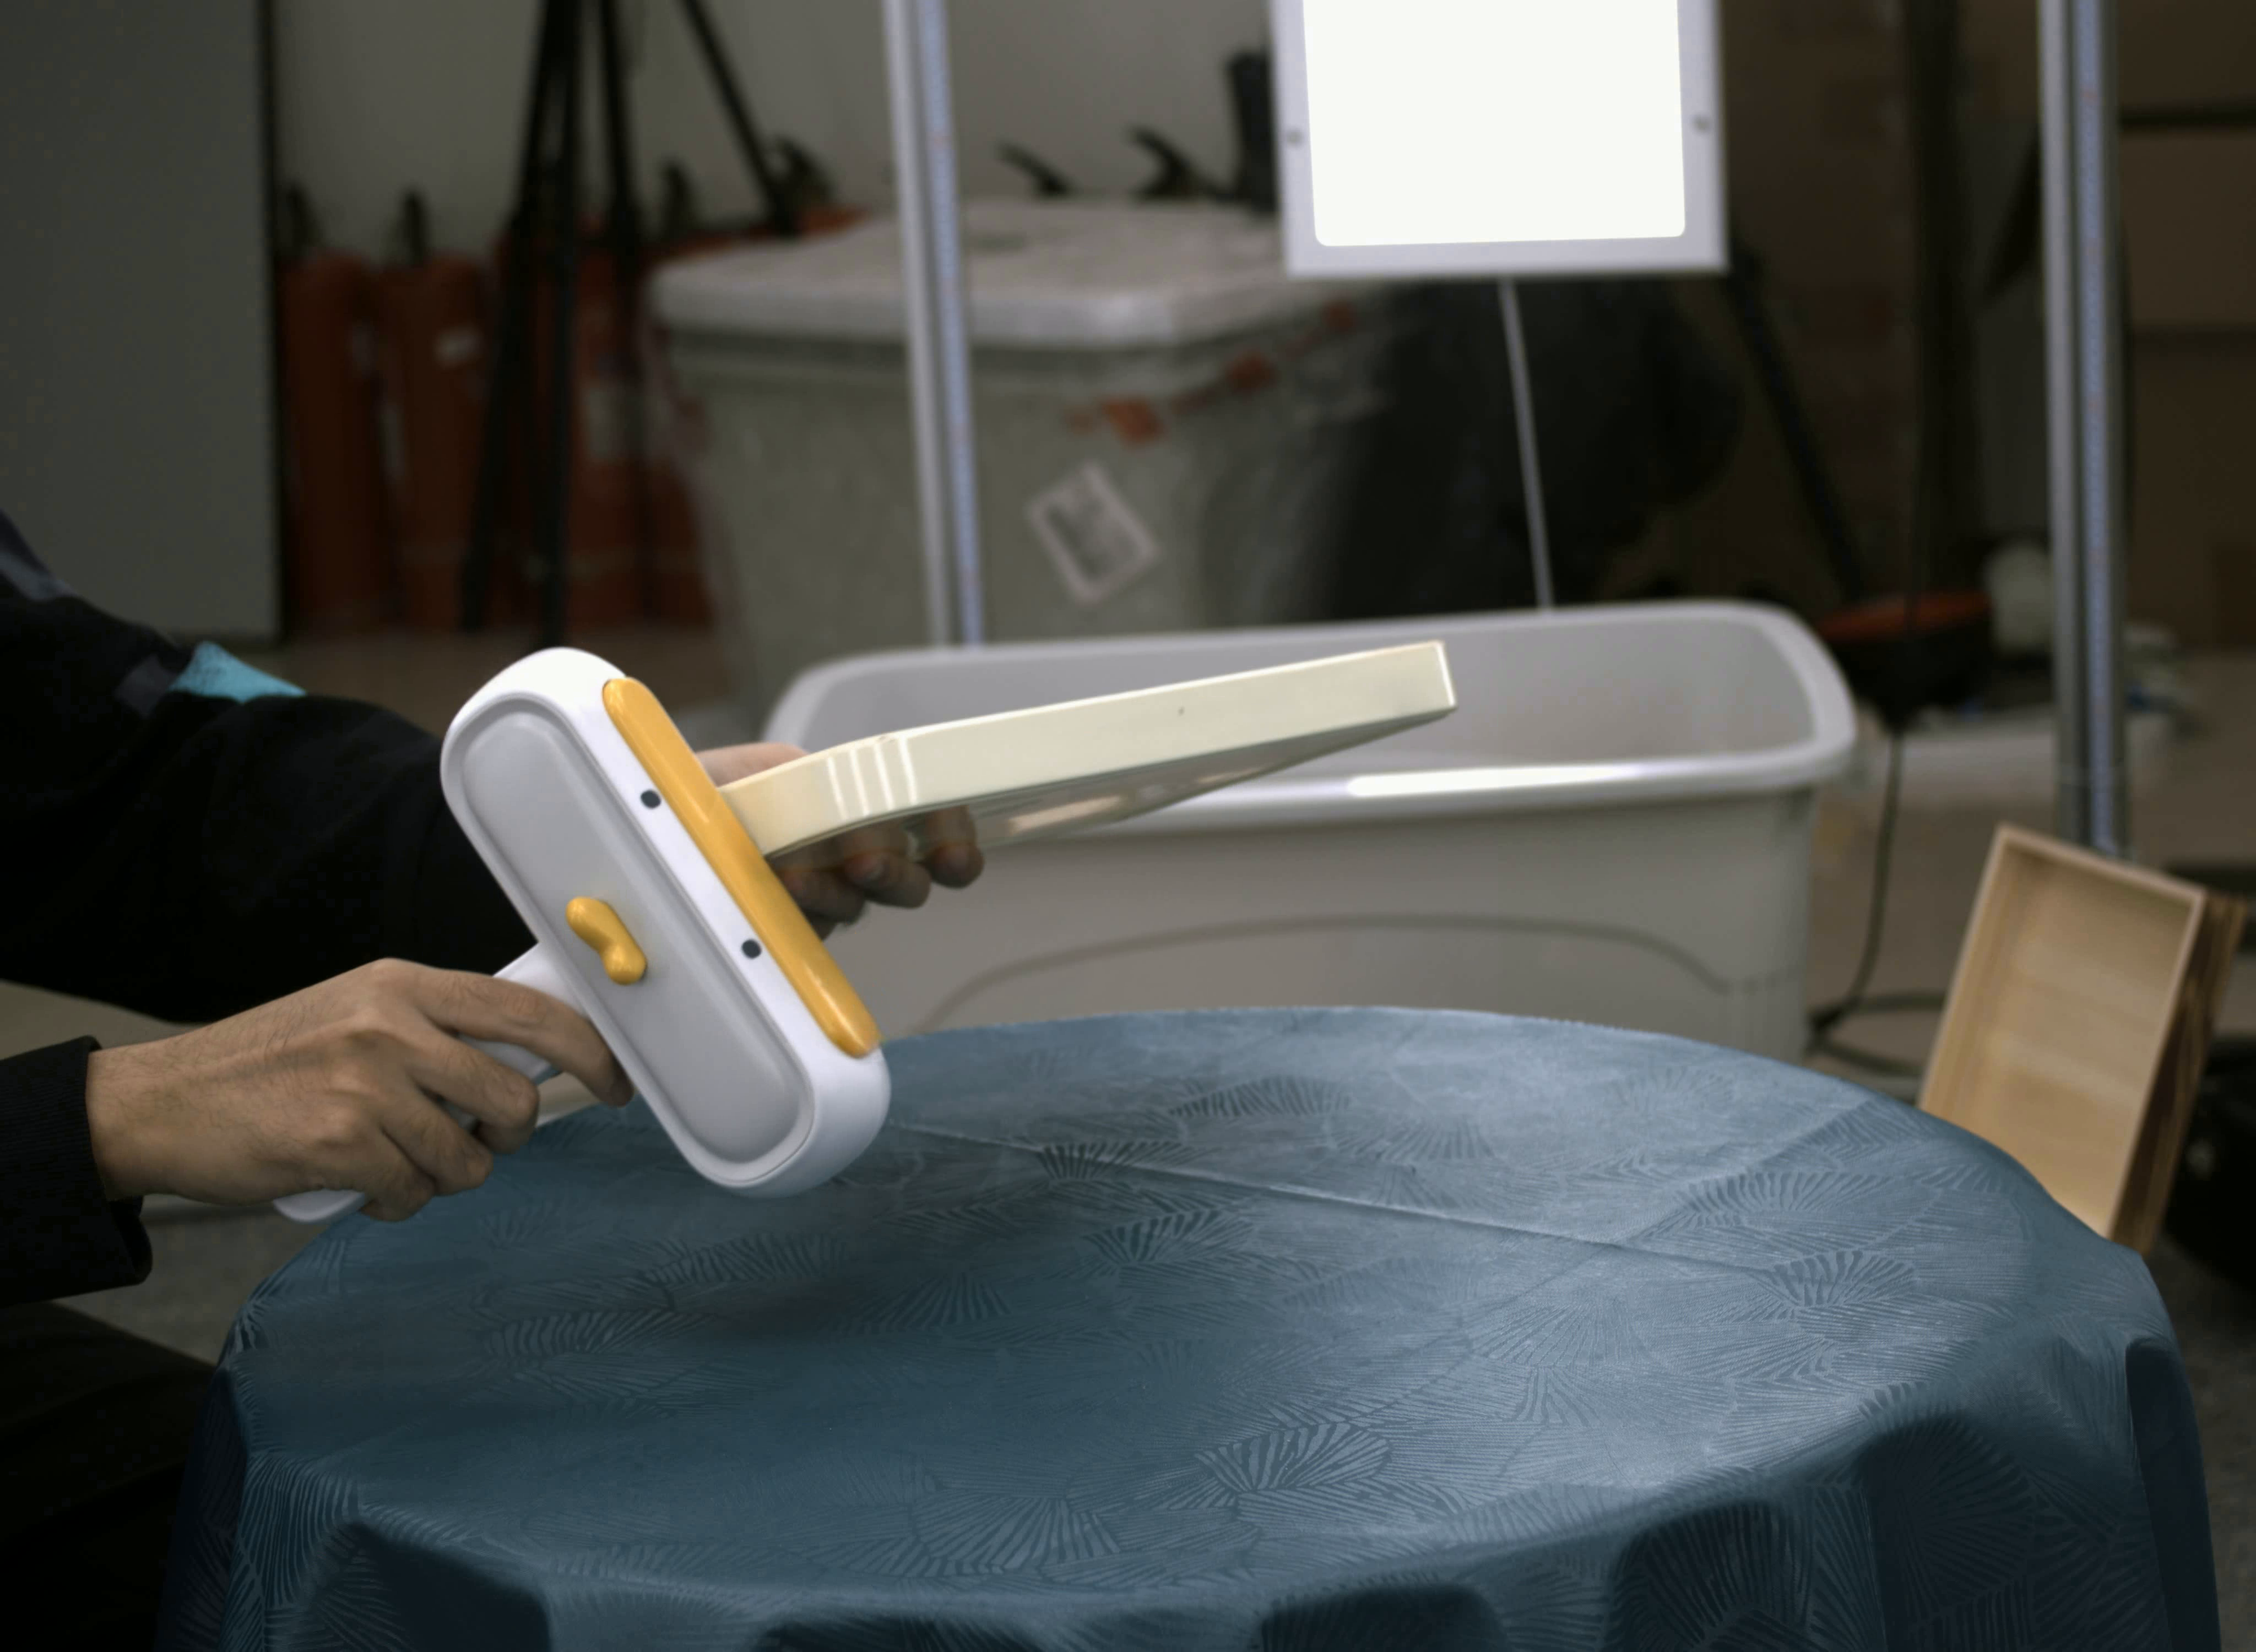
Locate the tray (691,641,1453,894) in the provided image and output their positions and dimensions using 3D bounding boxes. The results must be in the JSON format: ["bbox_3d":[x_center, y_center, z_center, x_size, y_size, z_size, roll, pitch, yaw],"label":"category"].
[{"bbox_3d":[-0.047,-0.012,1.883,0.292,0.027,0.196,-11,-6,-44],"label":"tray"}]

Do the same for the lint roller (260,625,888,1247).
[{"bbox_3d":[-0.195,0.061,1.758,0.195,0.193,0.073,-41,-4,18],"label":"lint roller"}]
